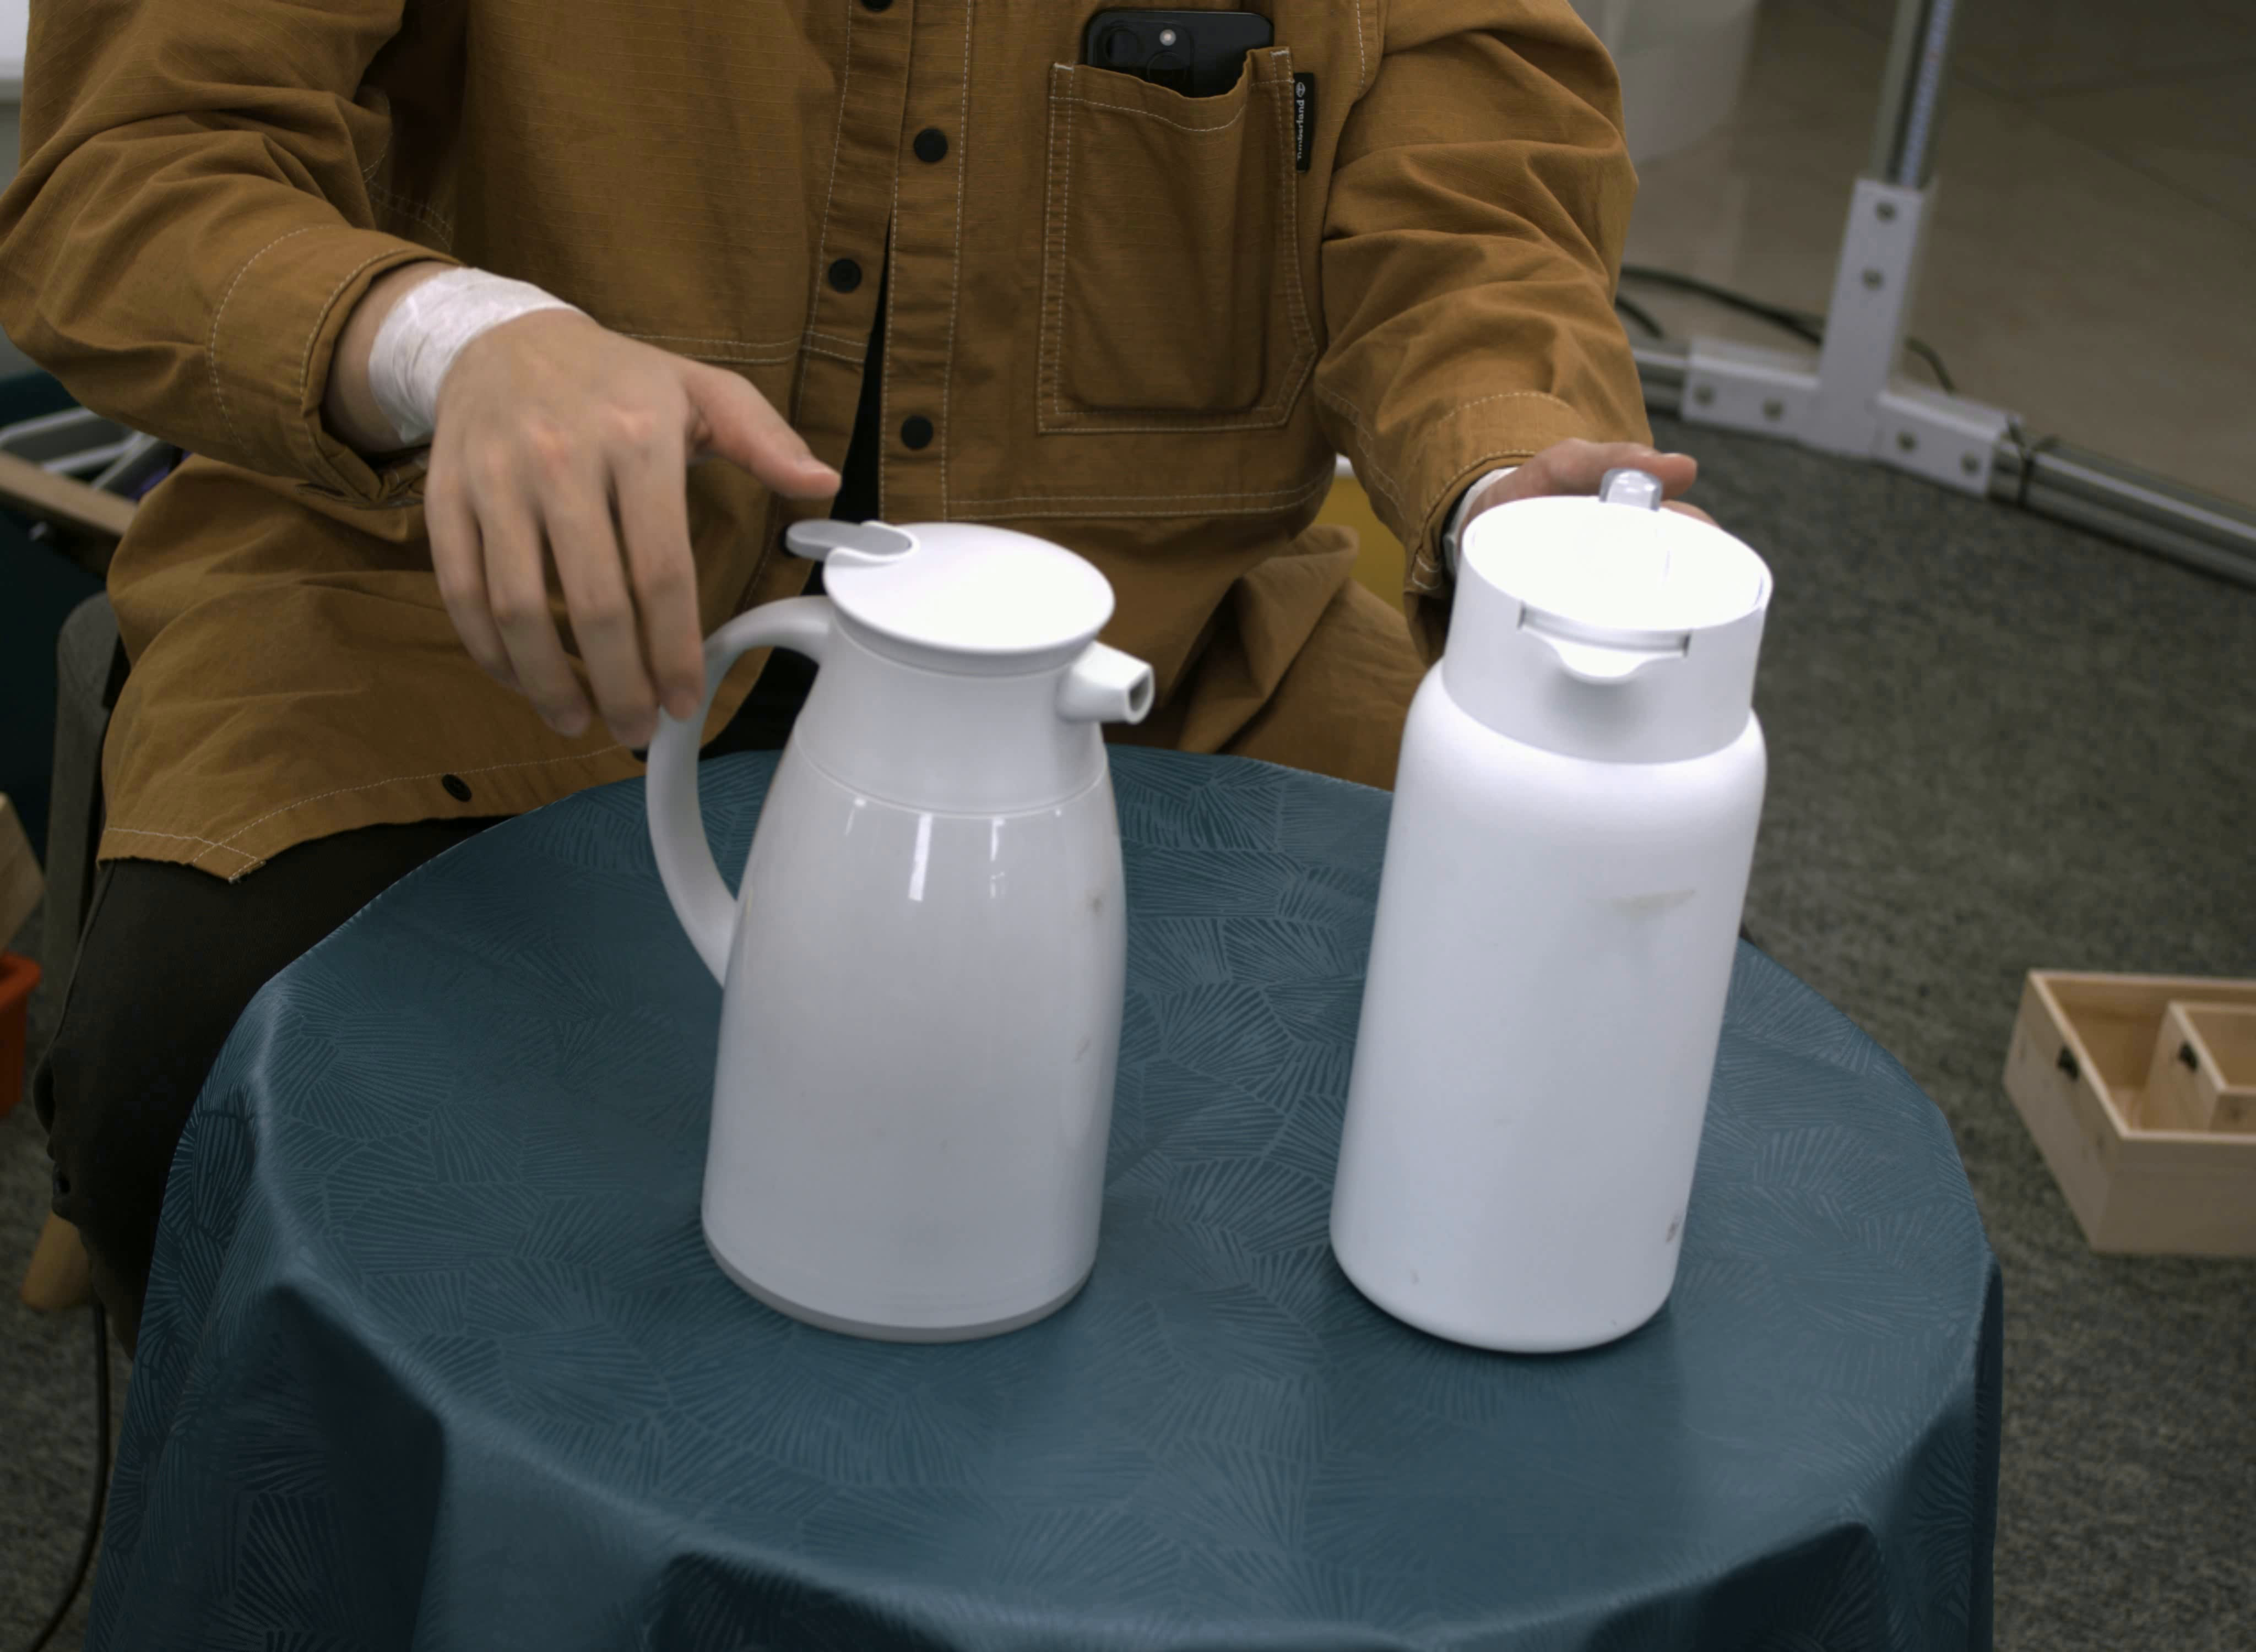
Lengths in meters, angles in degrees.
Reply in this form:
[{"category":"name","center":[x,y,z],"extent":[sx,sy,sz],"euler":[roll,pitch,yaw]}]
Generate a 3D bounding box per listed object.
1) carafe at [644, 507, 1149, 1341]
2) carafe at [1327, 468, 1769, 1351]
[{"category":"carafe","center":[-0.081,0.021,1.715],"extent":[0.168,0.248,0.132],"euler":[16,27,20]},{"category":"carafe","center":[0.139,0.023,1.740],"extent":[0.123,0.268,0.173],"euler":[7,26,6]}]
